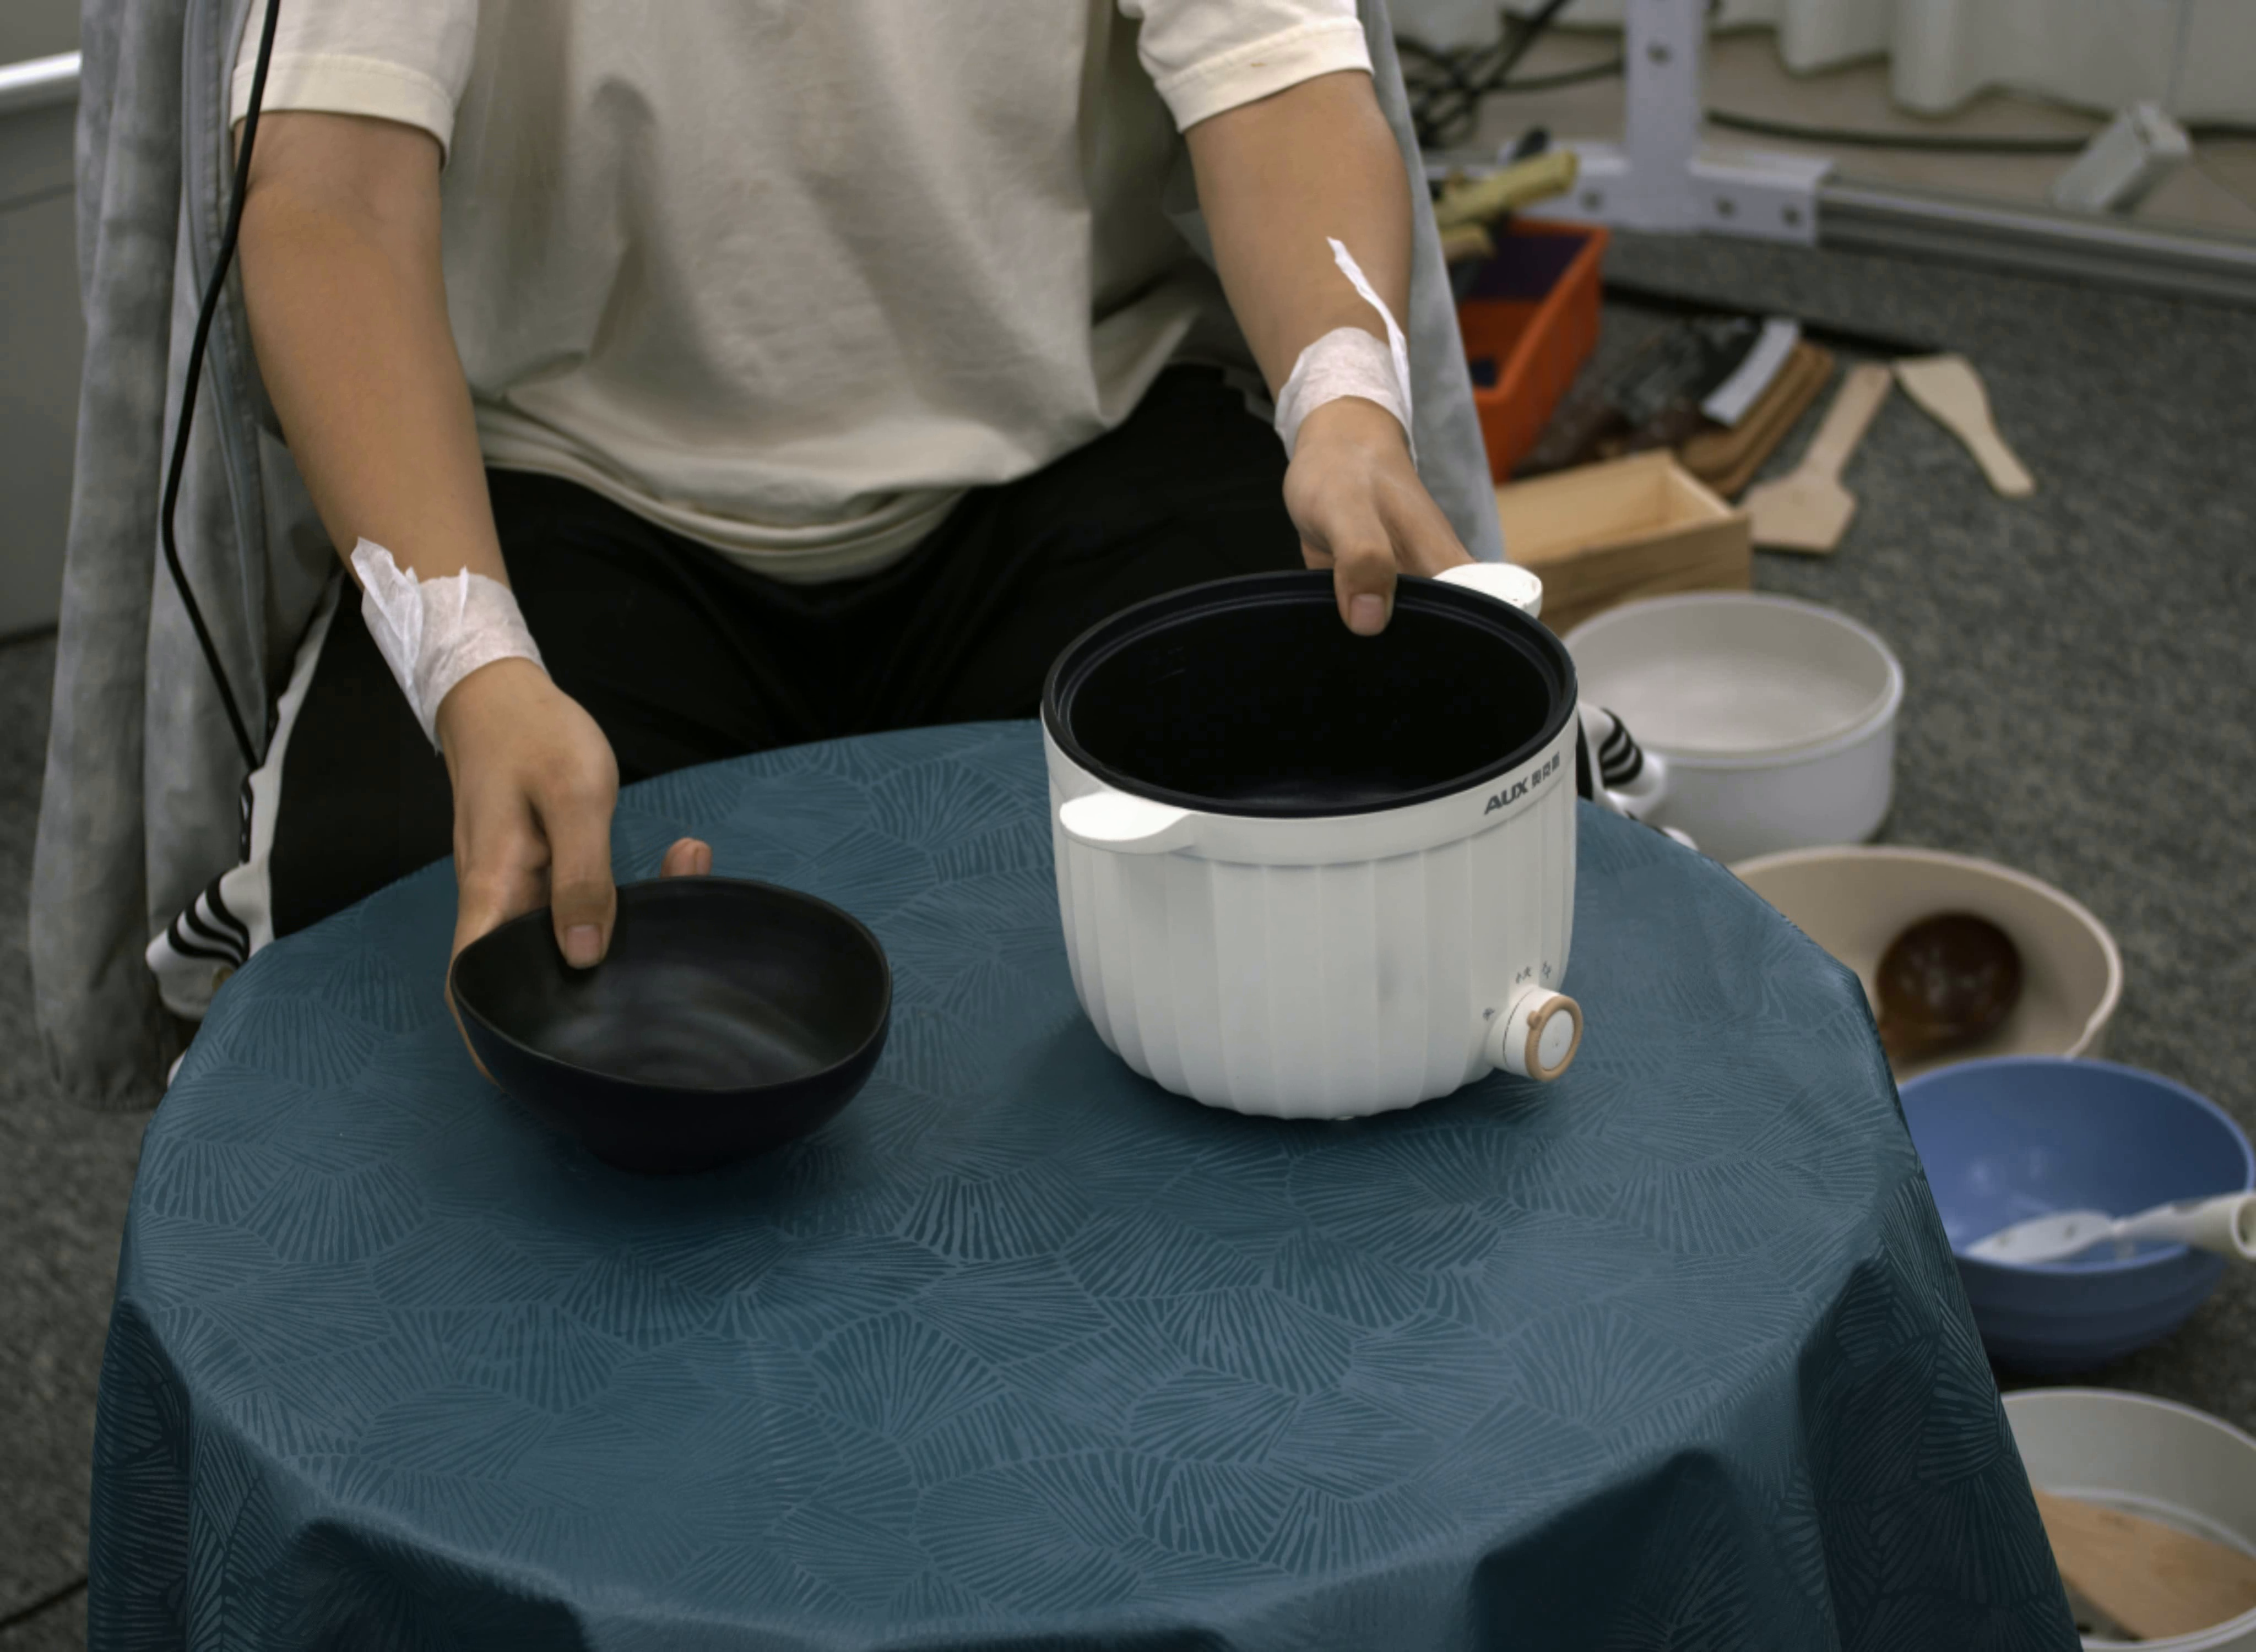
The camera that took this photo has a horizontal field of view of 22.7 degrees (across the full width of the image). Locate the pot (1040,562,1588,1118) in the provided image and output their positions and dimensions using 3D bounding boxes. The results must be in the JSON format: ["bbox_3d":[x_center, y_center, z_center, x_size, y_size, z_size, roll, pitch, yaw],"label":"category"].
[{"bbox_3d":[0.069,0.011,1.919,0.189,0.141,0.244,14,32,37],"label":"pot"}]

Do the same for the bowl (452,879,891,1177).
[{"bbox_3d":[-0.154,0.076,1.894,0.139,0.066,0.170,-23,33,-38],"label":"bowl"}]
